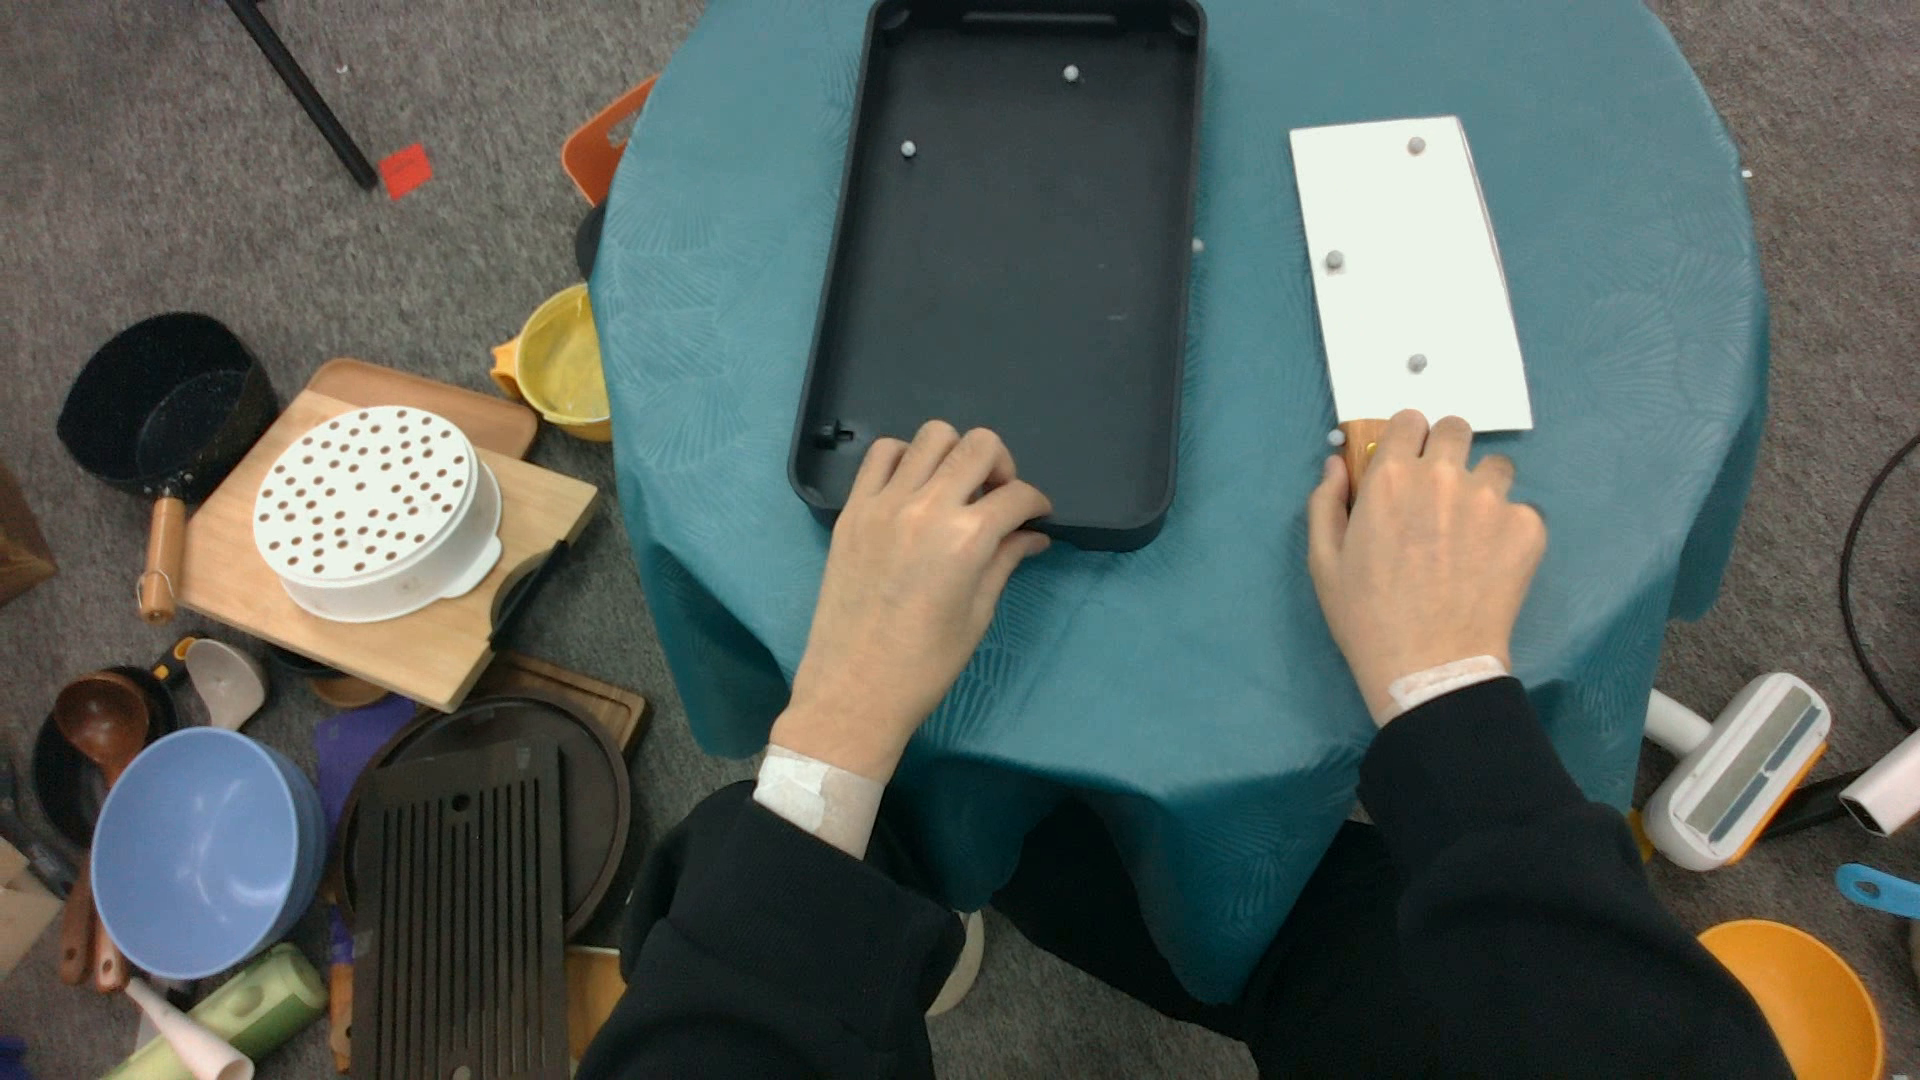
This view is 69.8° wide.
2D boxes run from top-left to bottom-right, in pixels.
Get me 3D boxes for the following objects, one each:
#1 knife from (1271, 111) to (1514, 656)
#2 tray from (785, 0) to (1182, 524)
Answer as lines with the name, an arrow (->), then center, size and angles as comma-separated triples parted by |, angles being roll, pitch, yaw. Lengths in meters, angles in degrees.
knife -> 0.217, -0.090, 0.672 | 0.093, 0.021, 0.307 | -4, 64, 2
tray -> 0.020, -0.160, 0.708 | 0.184, 0.037, 0.319 | 2, 67, 6
